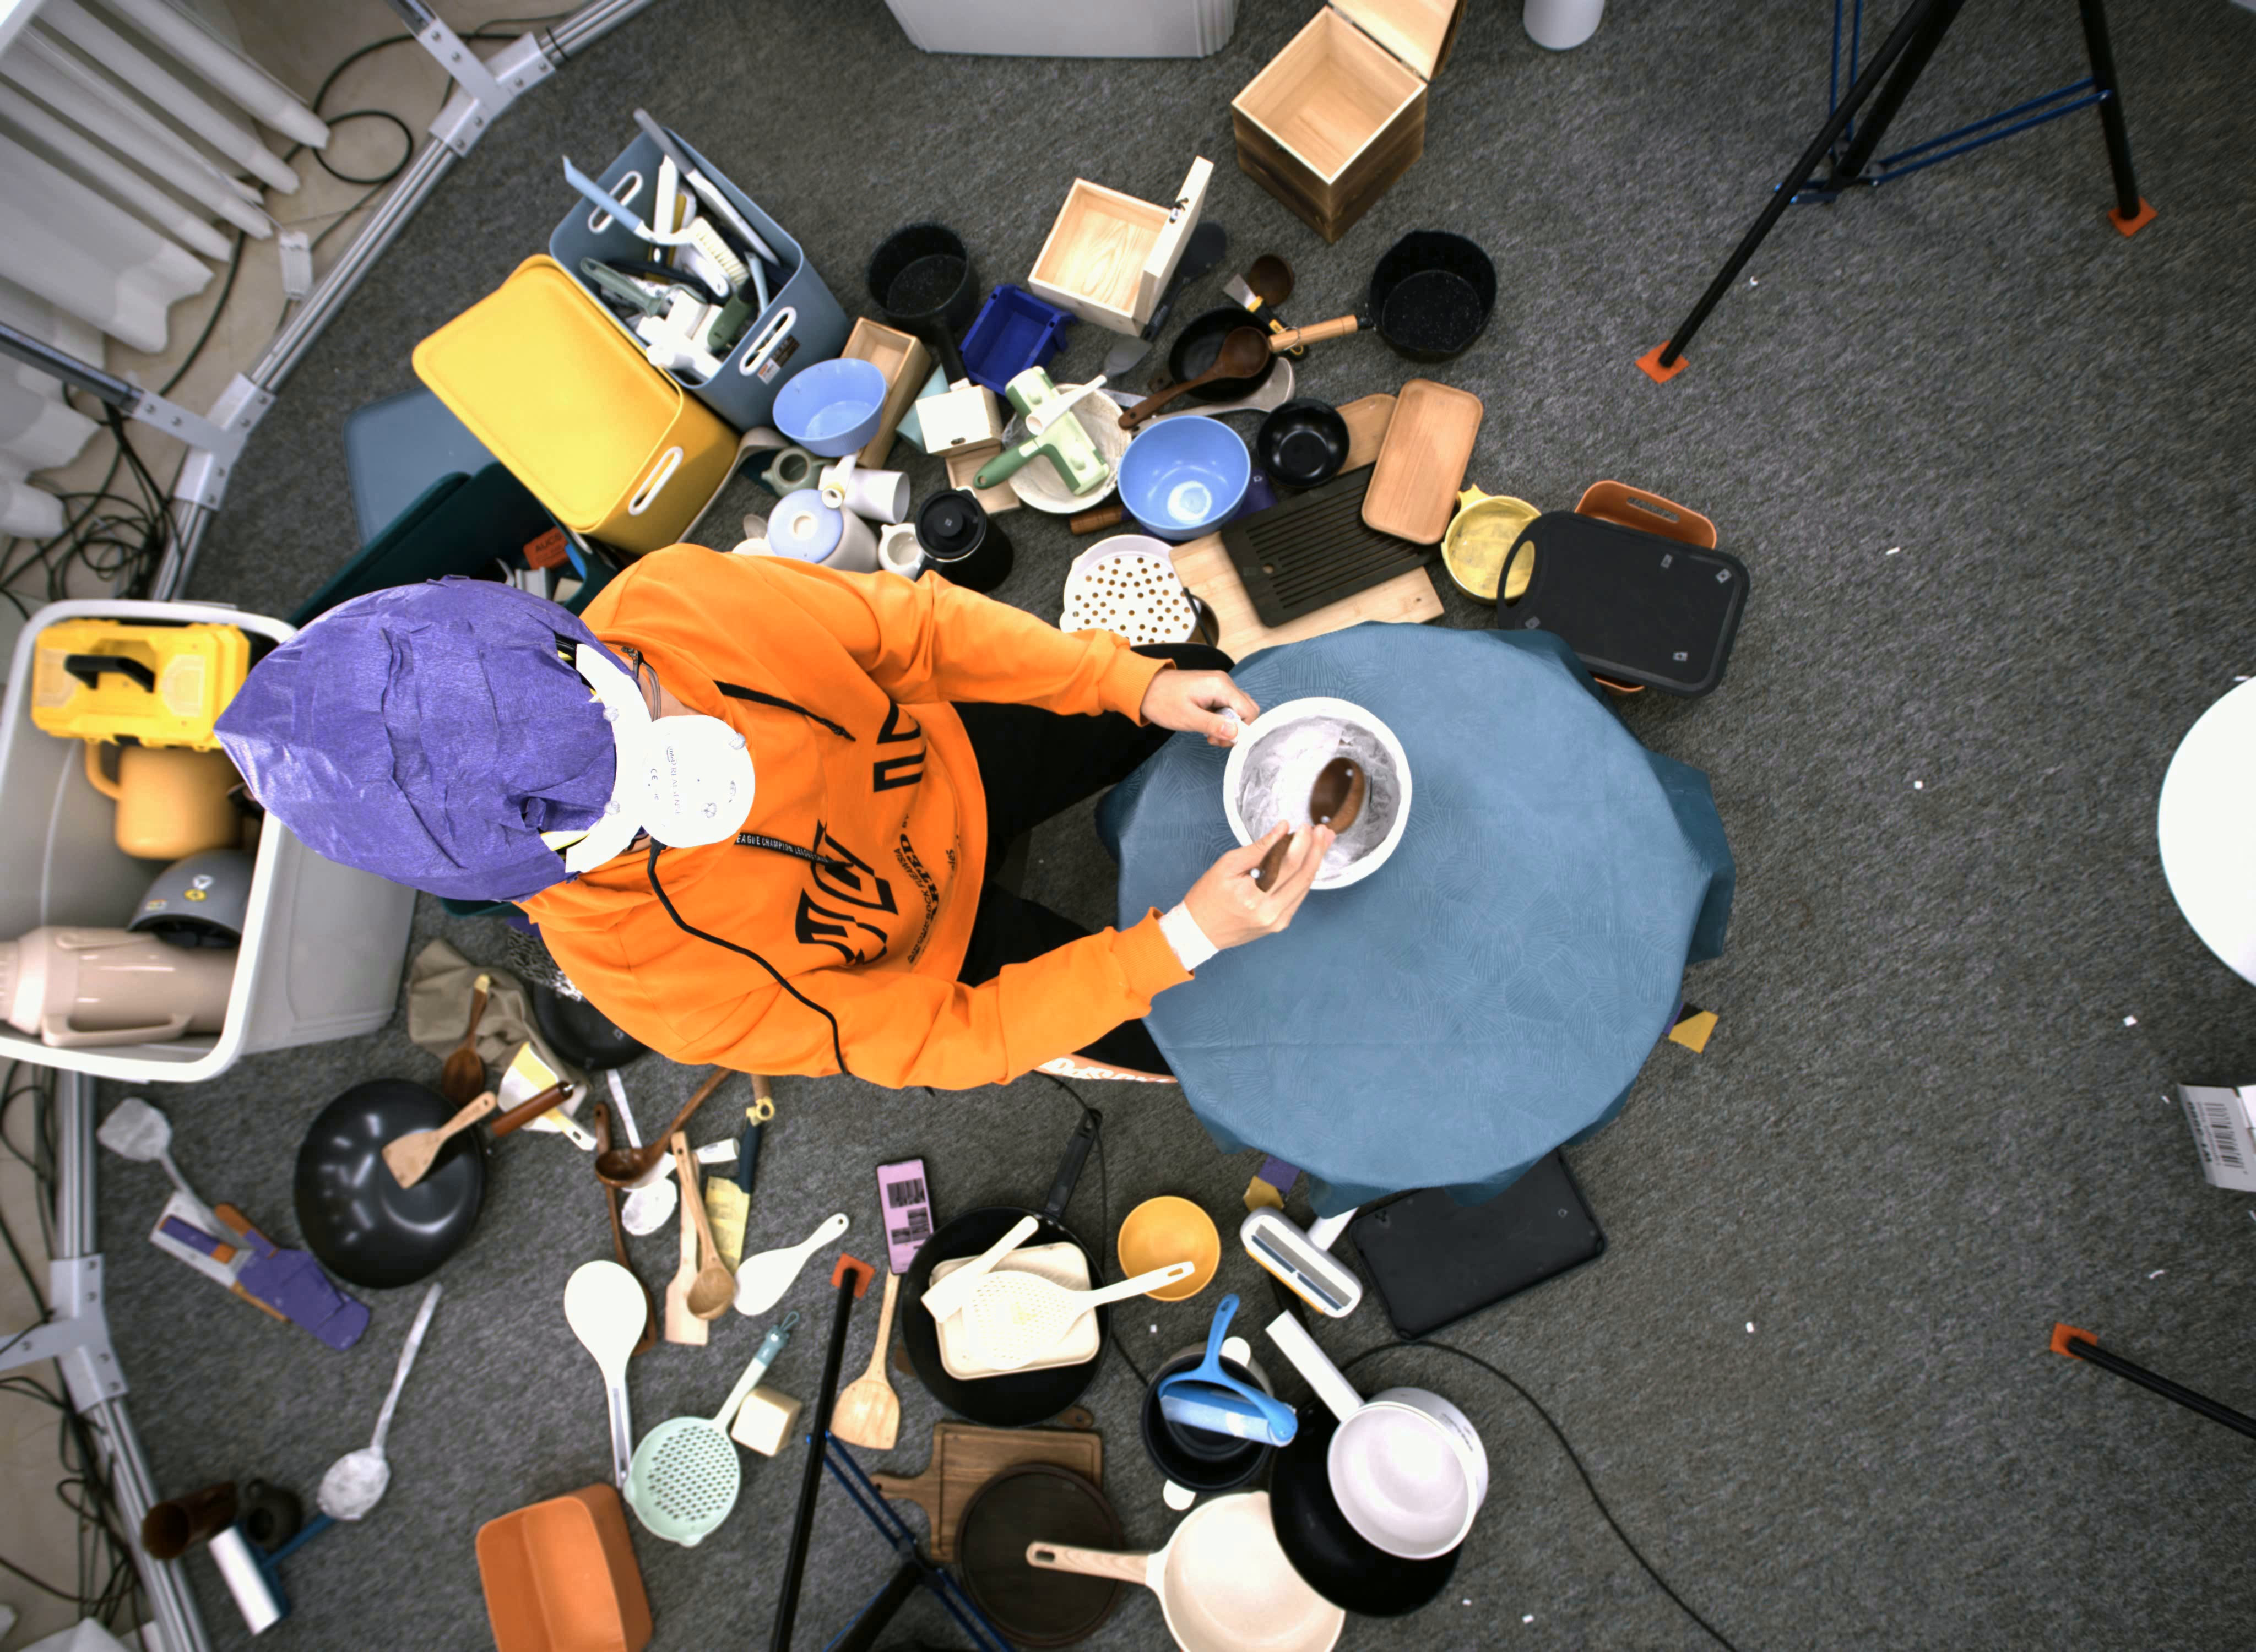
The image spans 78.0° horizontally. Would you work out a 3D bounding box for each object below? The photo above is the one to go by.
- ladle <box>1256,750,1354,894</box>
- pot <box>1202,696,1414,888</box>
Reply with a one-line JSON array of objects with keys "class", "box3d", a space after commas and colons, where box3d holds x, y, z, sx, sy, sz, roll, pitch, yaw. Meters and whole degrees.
[{"class": "ladle", "box3d": [0.149, -0.005, 1.264, 0.065, 0.255, 0.078, 35, 121, 12]}, {"class": "pot", "box3d": [0.167, -0.046, 1.365, 0.233, 0.137, 0.179, 37, 92, 10]}]
